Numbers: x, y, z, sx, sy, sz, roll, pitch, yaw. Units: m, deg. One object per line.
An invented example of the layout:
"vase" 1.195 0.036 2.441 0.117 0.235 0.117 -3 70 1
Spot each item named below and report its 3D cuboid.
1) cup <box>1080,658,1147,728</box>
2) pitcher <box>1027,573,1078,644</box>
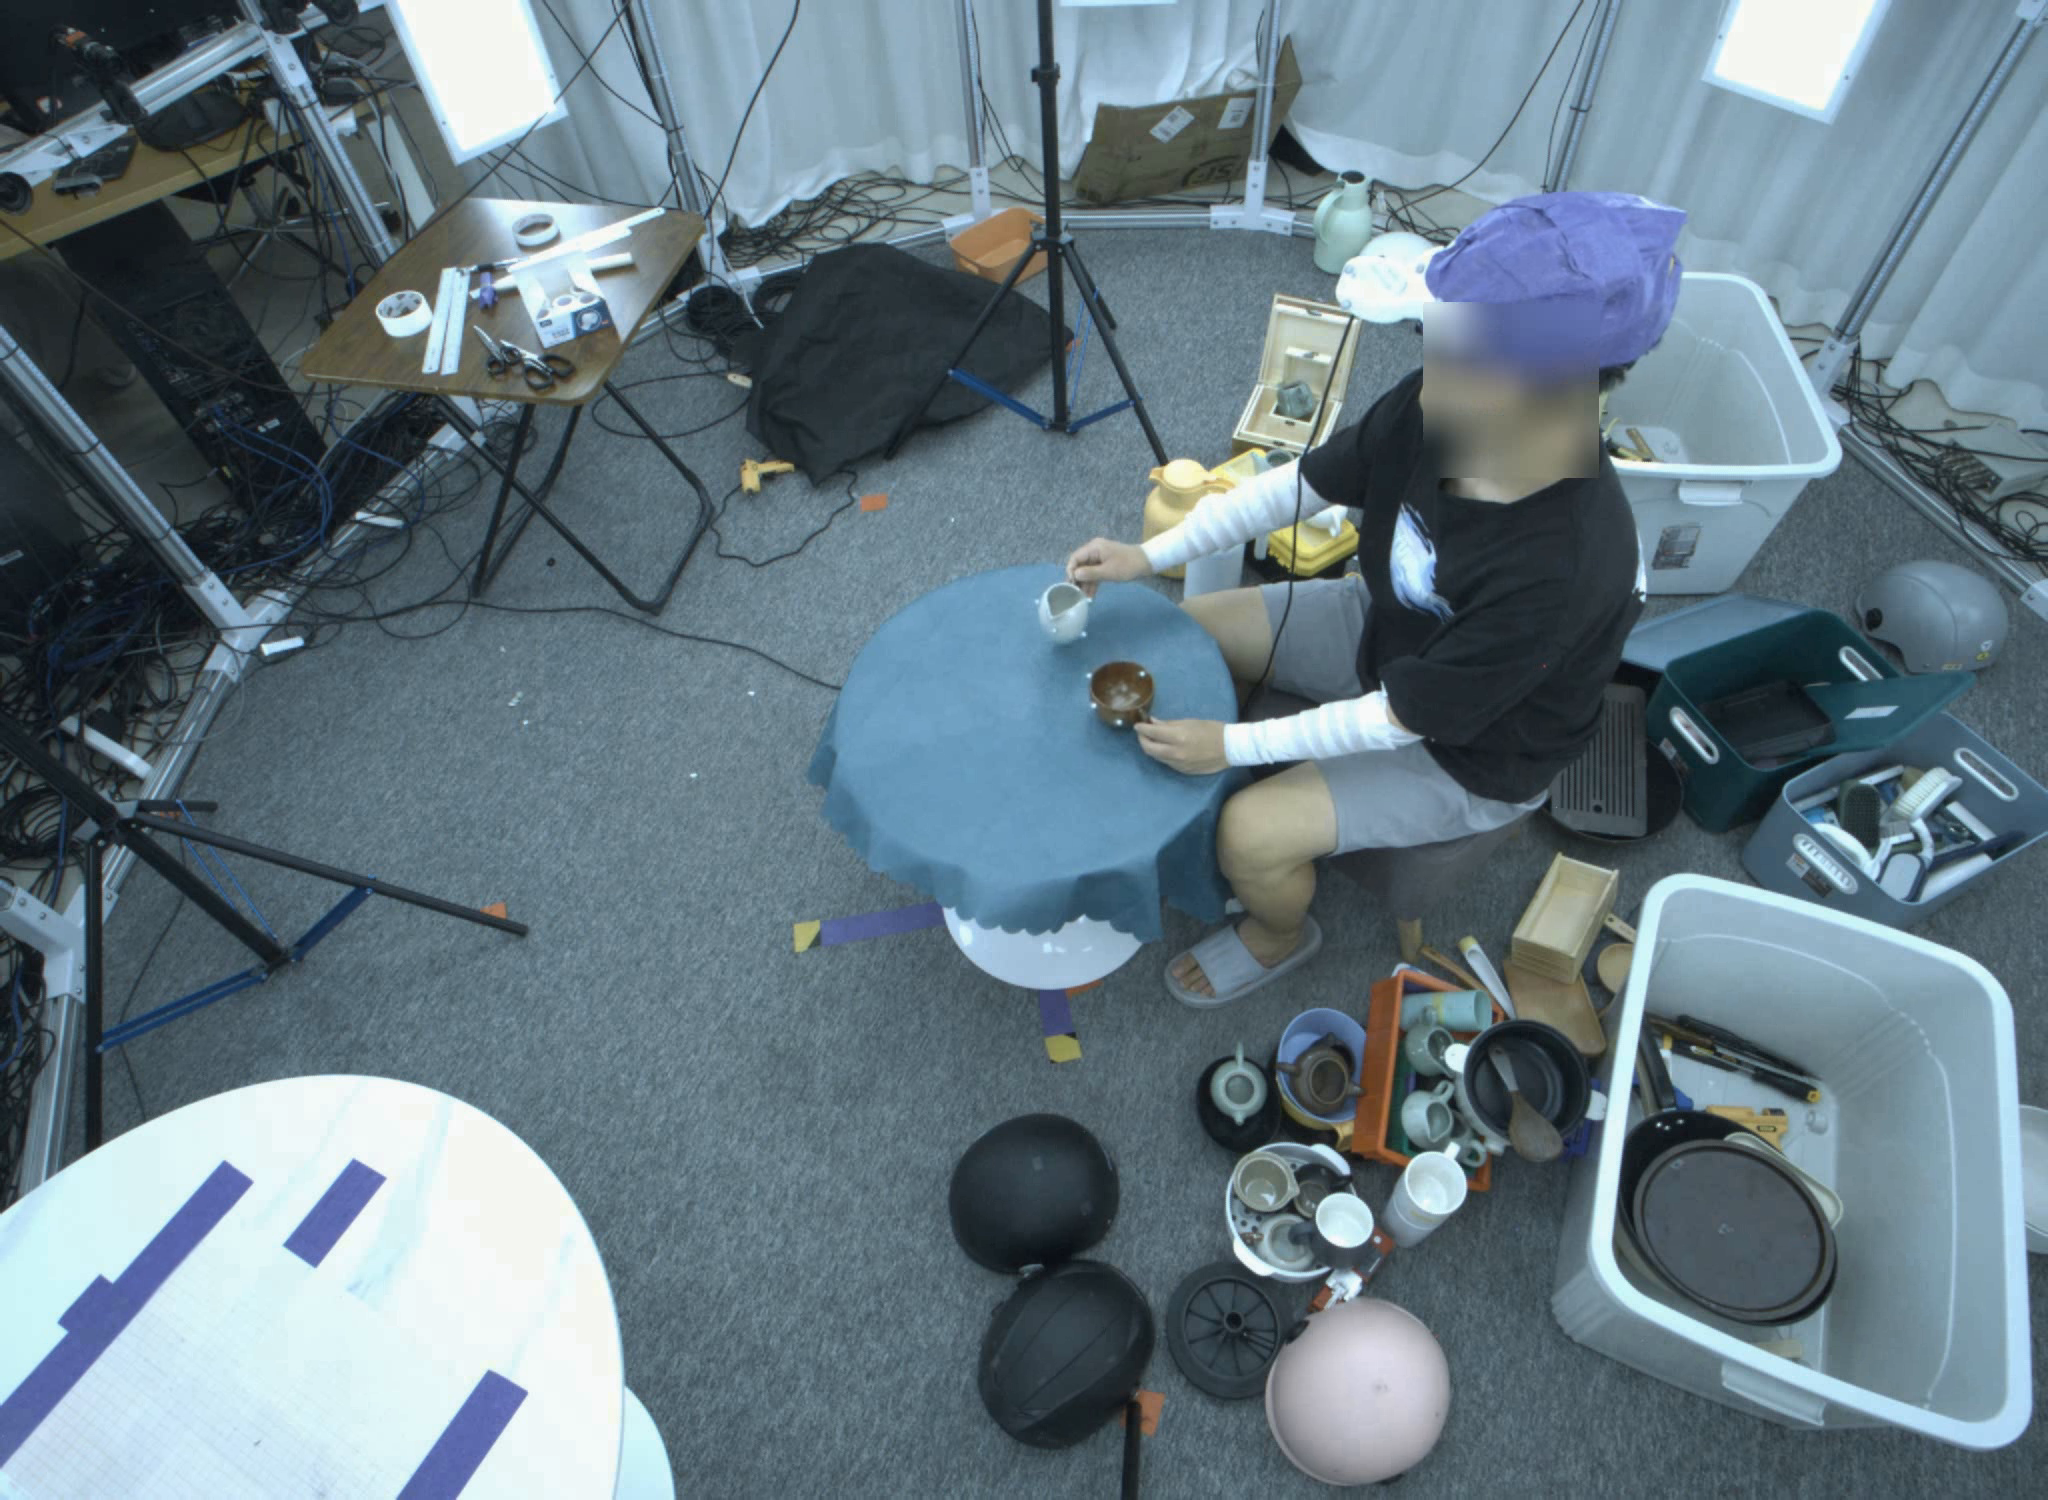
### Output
"cup" 0.134 -0.070 1.784 0.097 0.068 0.117 -27 59 -20
"pitcher" 0.046 -0.206 1.834 0.075 0.088 0.119 25 65 12
